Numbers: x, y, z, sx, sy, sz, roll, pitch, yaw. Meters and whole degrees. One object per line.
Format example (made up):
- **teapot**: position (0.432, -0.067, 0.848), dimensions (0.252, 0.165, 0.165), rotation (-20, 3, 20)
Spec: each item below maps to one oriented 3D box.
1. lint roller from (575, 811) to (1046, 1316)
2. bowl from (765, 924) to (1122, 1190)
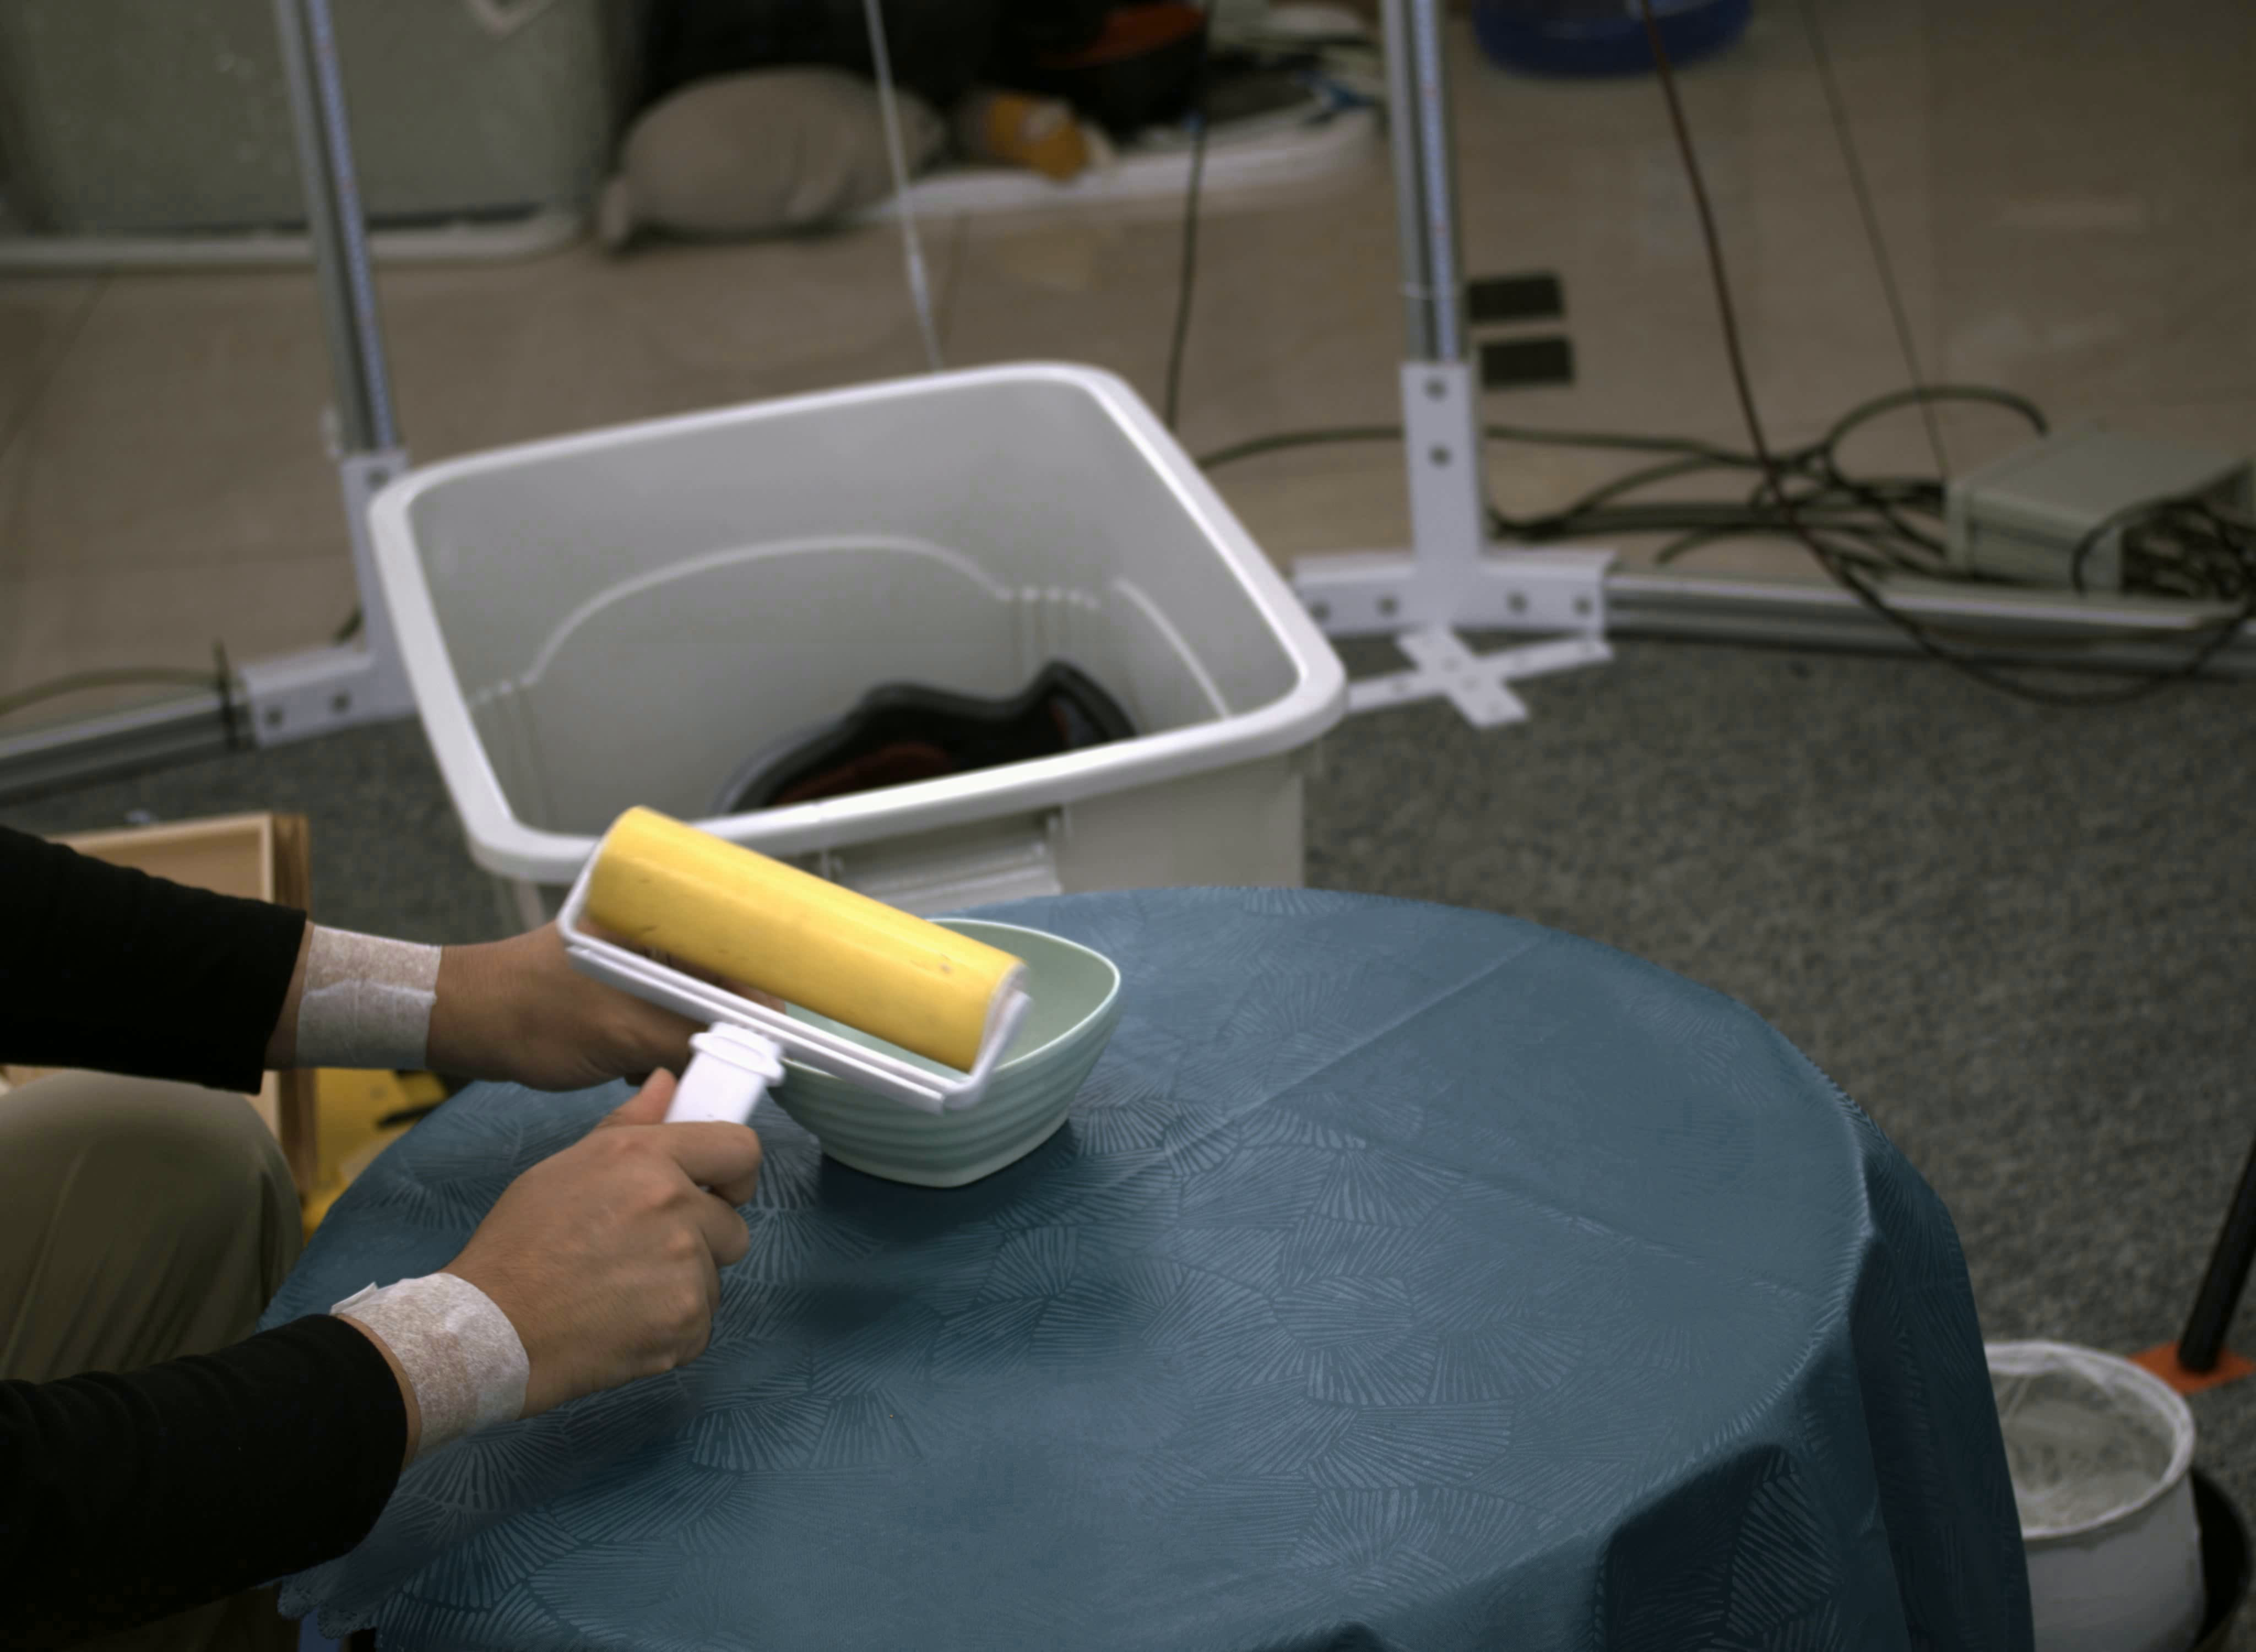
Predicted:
- **lint roller**: position (-0.142, 0.093, 2.048), dimensions (0.173, 0.052, 0.189), rotation (22, 51, 12)
- **bowl**: position (-0.076, 0.094, 2.194), dimensions (0.151, 0.059, 0.149), rotation (-4, 23, 2)
